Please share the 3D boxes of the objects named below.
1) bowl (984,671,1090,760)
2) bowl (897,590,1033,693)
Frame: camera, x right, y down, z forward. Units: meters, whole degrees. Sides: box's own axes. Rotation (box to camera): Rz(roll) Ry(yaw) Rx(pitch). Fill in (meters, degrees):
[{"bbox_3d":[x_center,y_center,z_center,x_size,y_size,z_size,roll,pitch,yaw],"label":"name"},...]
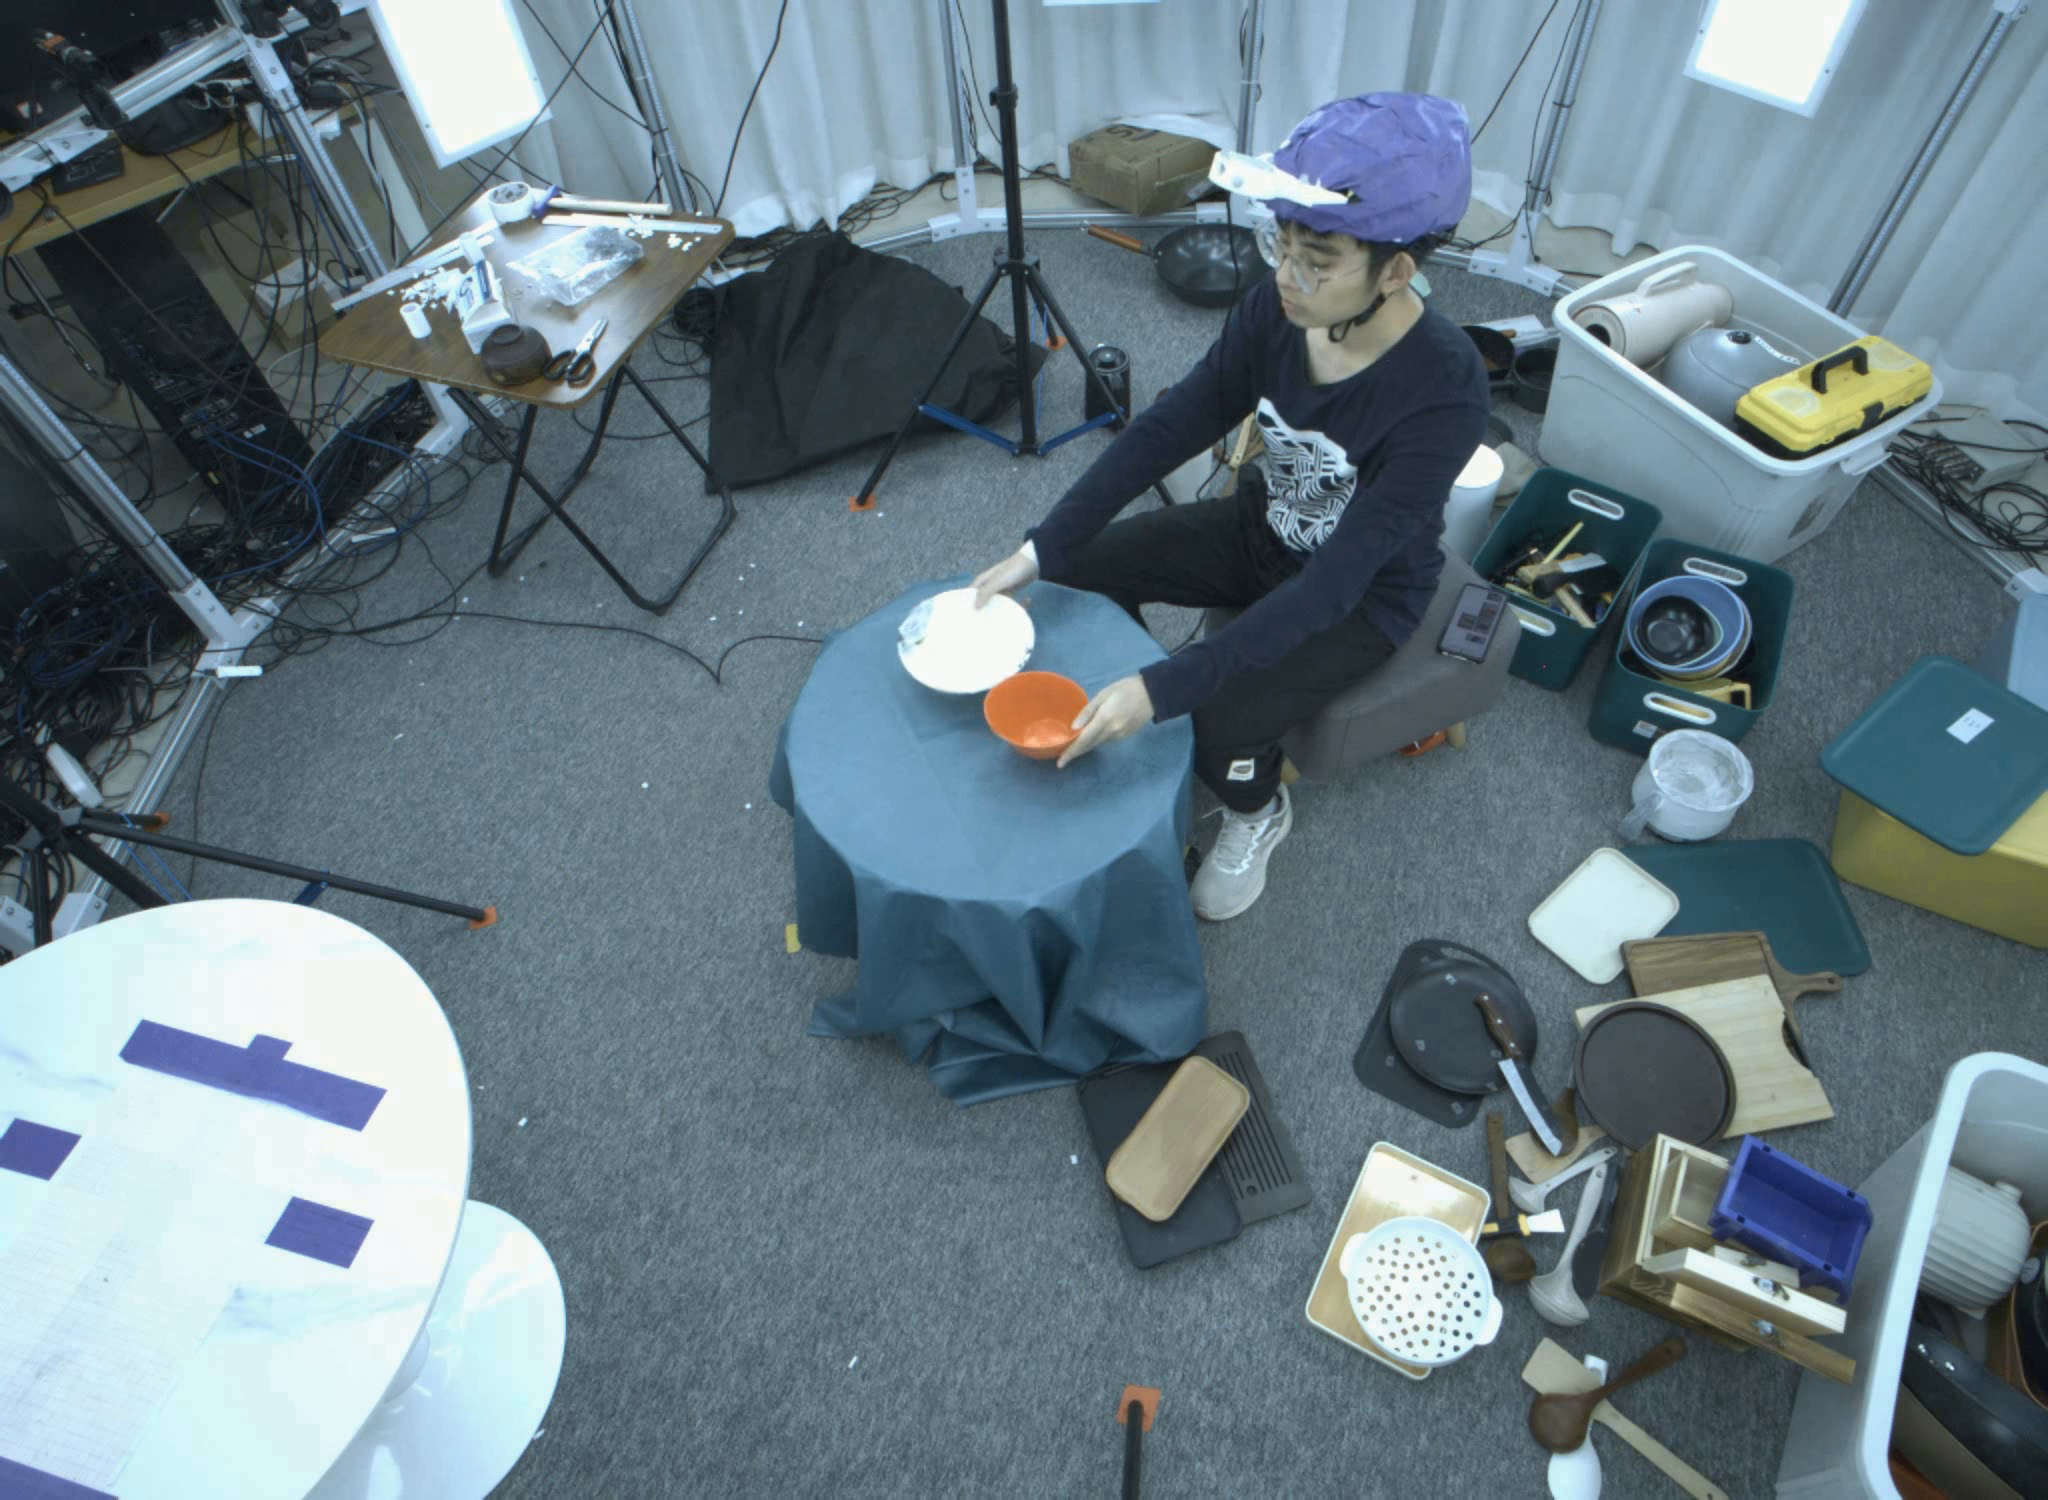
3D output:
[{"bbox_3d":[0.020,-0.035,1.757,0.148,0.106,0.146,-1,55,2],"label":"bowl"},{"bbox_3d":[-0.089,-0.143,1.856,0.204,0.078,0.202,3,54,-2],"label":"bowl"}]
